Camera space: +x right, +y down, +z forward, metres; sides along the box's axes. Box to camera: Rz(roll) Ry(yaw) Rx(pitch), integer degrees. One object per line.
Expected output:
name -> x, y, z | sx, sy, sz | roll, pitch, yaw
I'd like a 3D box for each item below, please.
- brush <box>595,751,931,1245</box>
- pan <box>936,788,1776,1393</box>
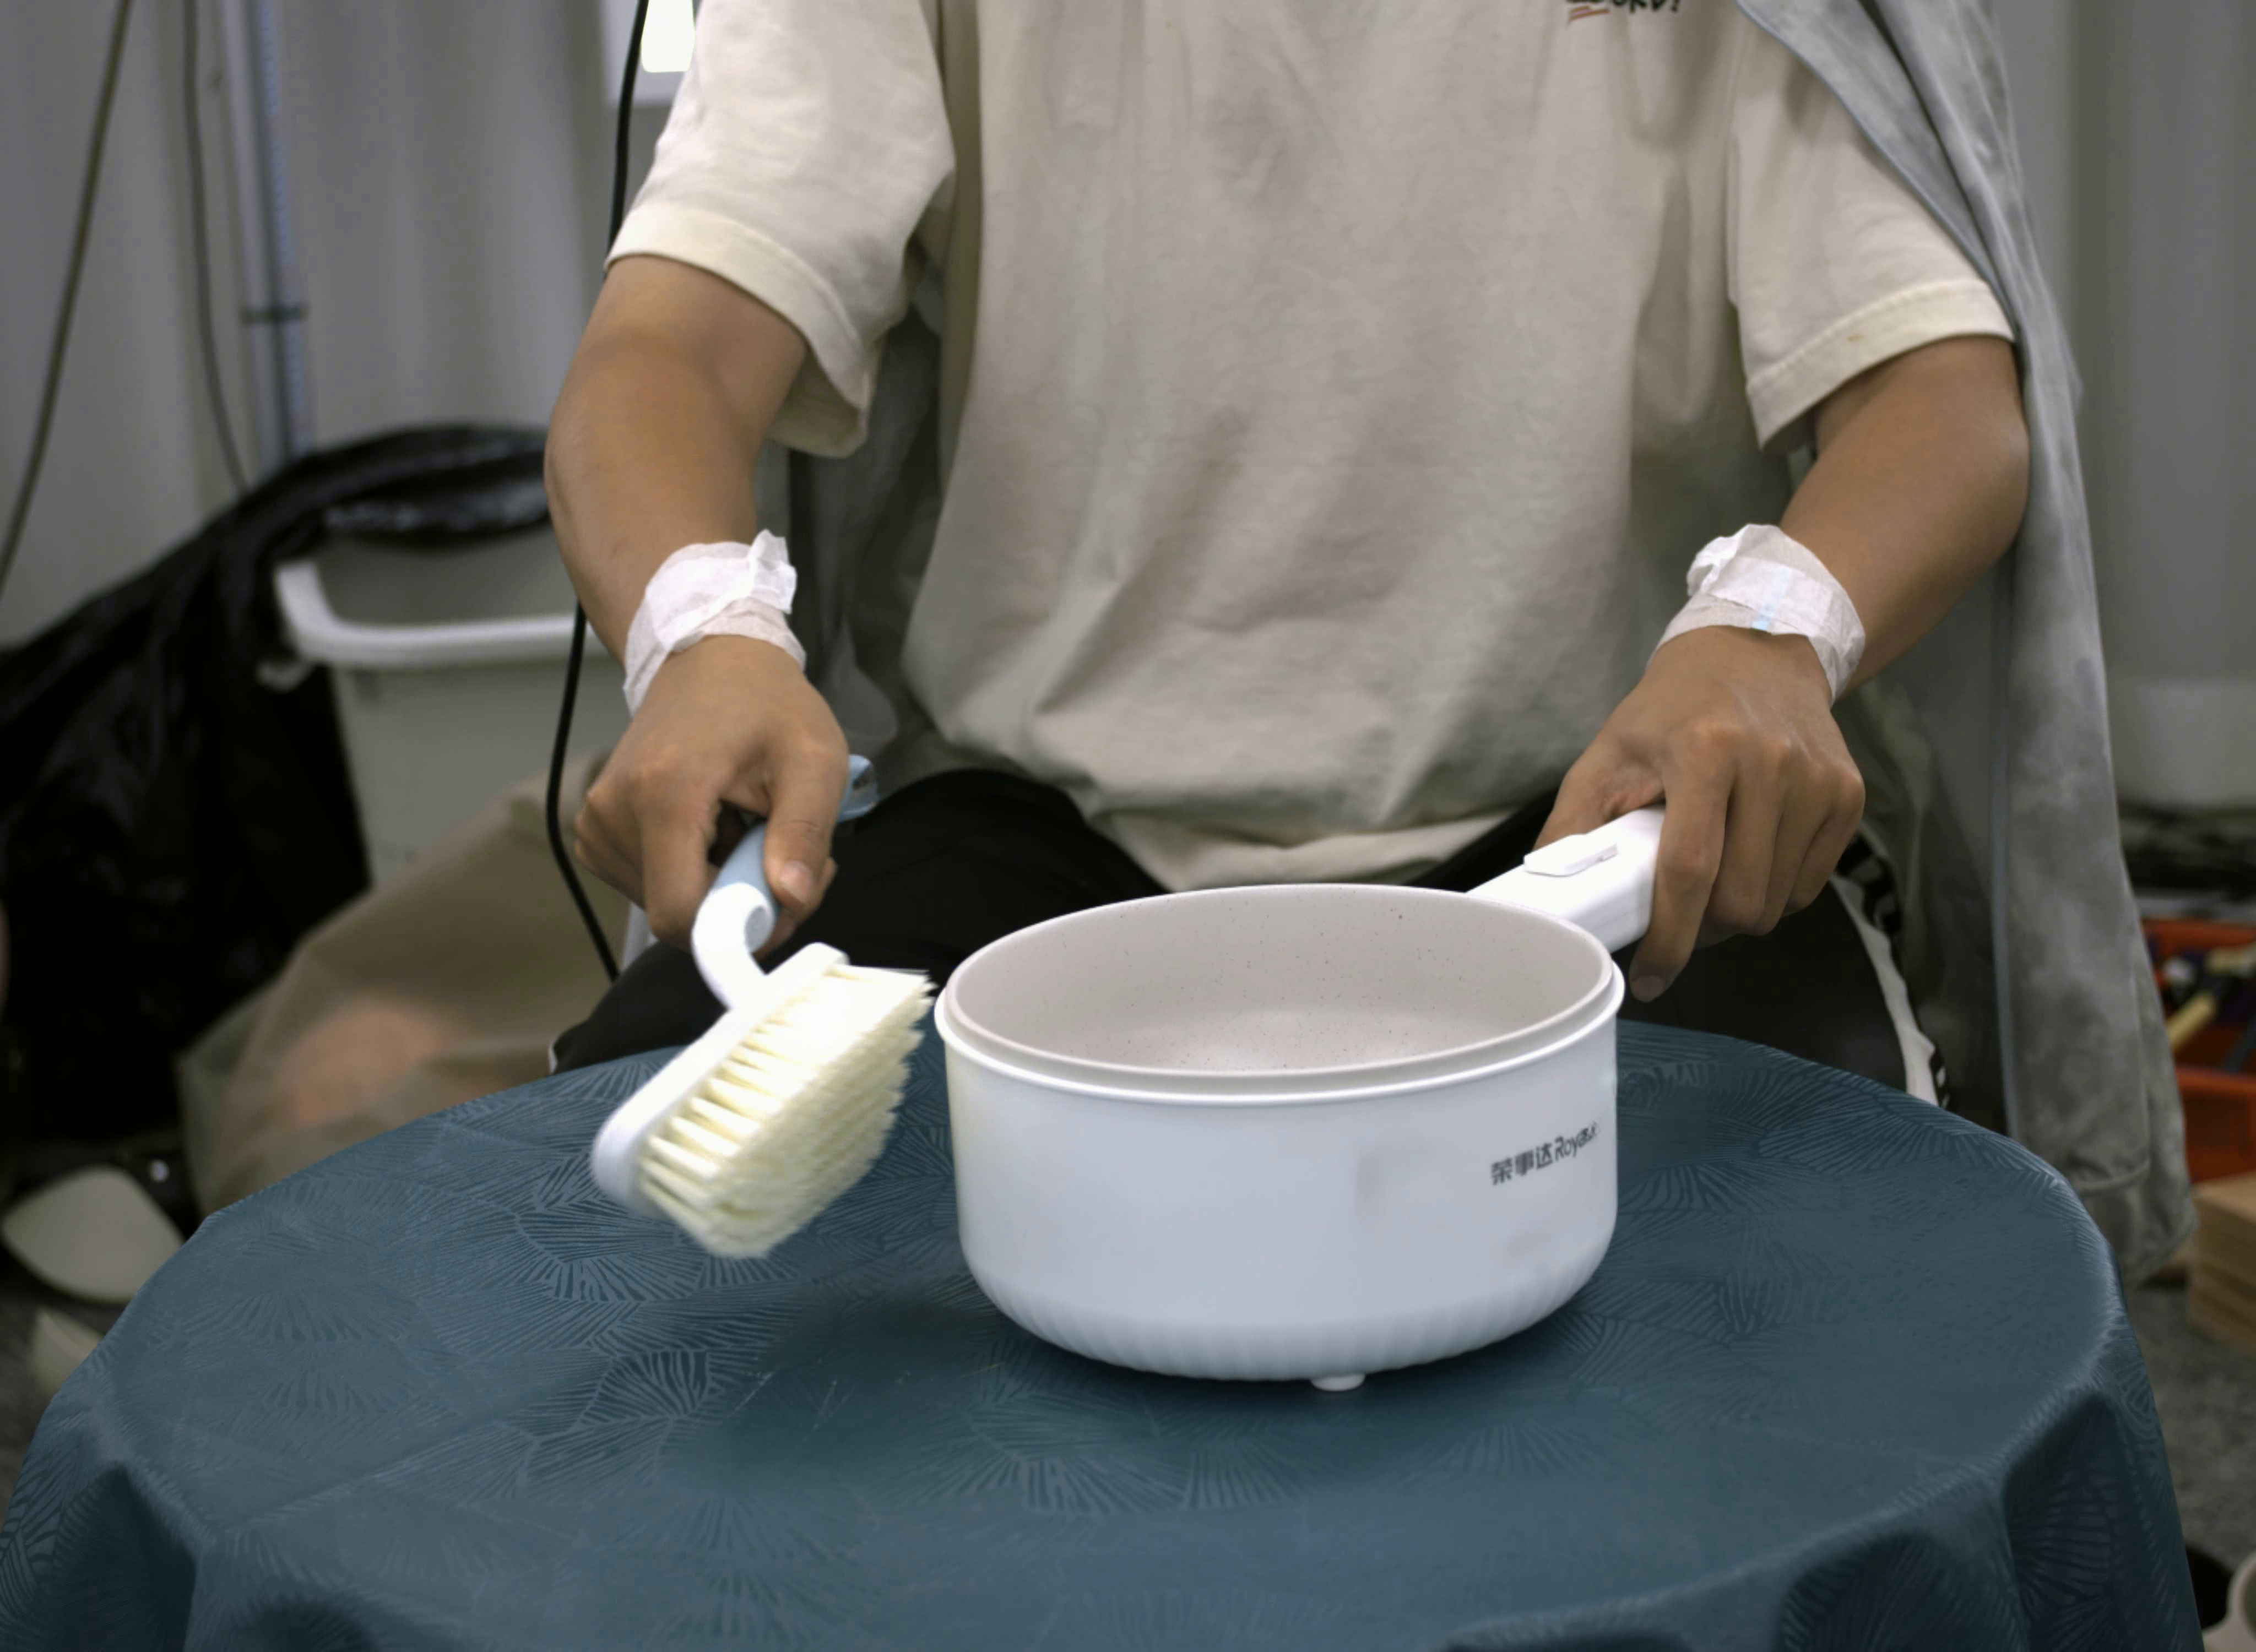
brush -> -0.087, 0.044, 1.682 | 0.083, 0.084, 0.328 | -34, 11, 19
pan -> 0.091, 0.074, 1.662 | 0.202, 0.102, 0.354 | 7, 17, 36
